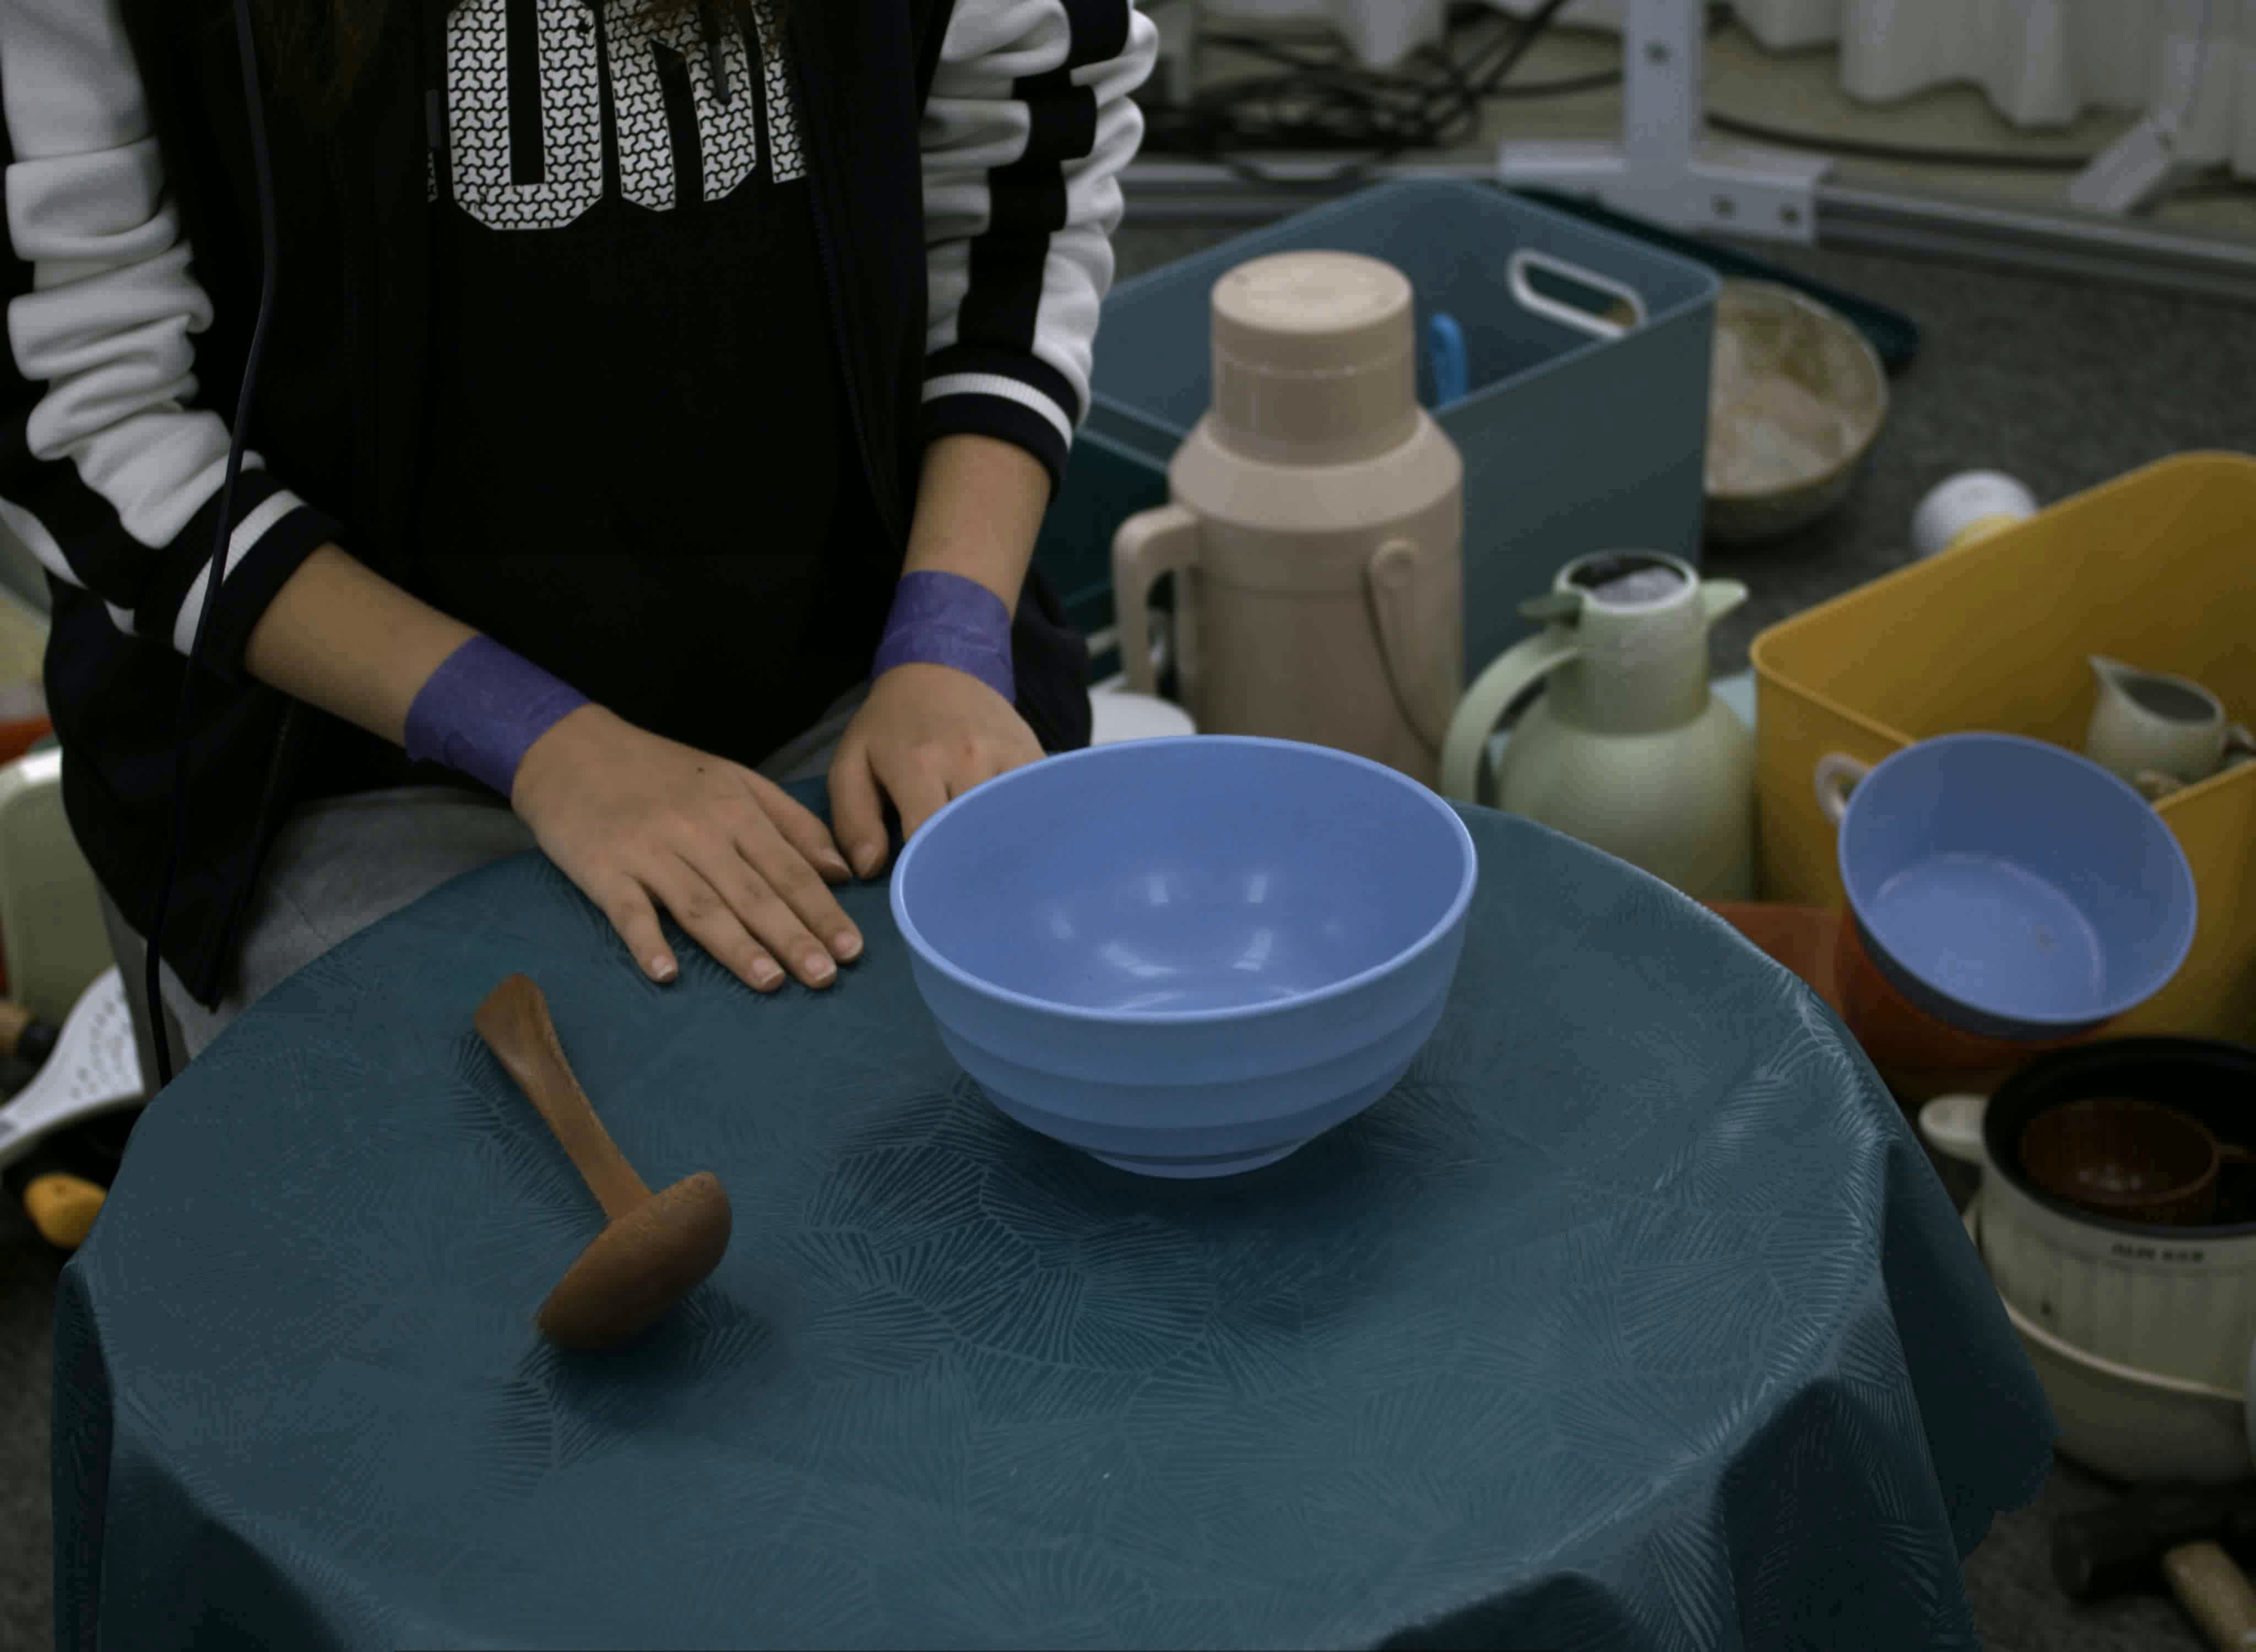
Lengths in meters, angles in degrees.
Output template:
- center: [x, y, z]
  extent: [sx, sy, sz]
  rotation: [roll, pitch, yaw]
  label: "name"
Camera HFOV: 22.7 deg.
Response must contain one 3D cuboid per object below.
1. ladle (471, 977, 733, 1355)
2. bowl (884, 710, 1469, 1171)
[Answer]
- center: [-0.190, 0.097, 1.863]
  extent: [0.076, 0.064, 0.262]
  rotation: [-35, 33, -2]
  label: "ladle"
- center: [0.021, 0.052, 1.895]
  extent: [0.195, 0.094, 0.200]
  rotation: [-5, 32, 4]
  label: "bowl"
